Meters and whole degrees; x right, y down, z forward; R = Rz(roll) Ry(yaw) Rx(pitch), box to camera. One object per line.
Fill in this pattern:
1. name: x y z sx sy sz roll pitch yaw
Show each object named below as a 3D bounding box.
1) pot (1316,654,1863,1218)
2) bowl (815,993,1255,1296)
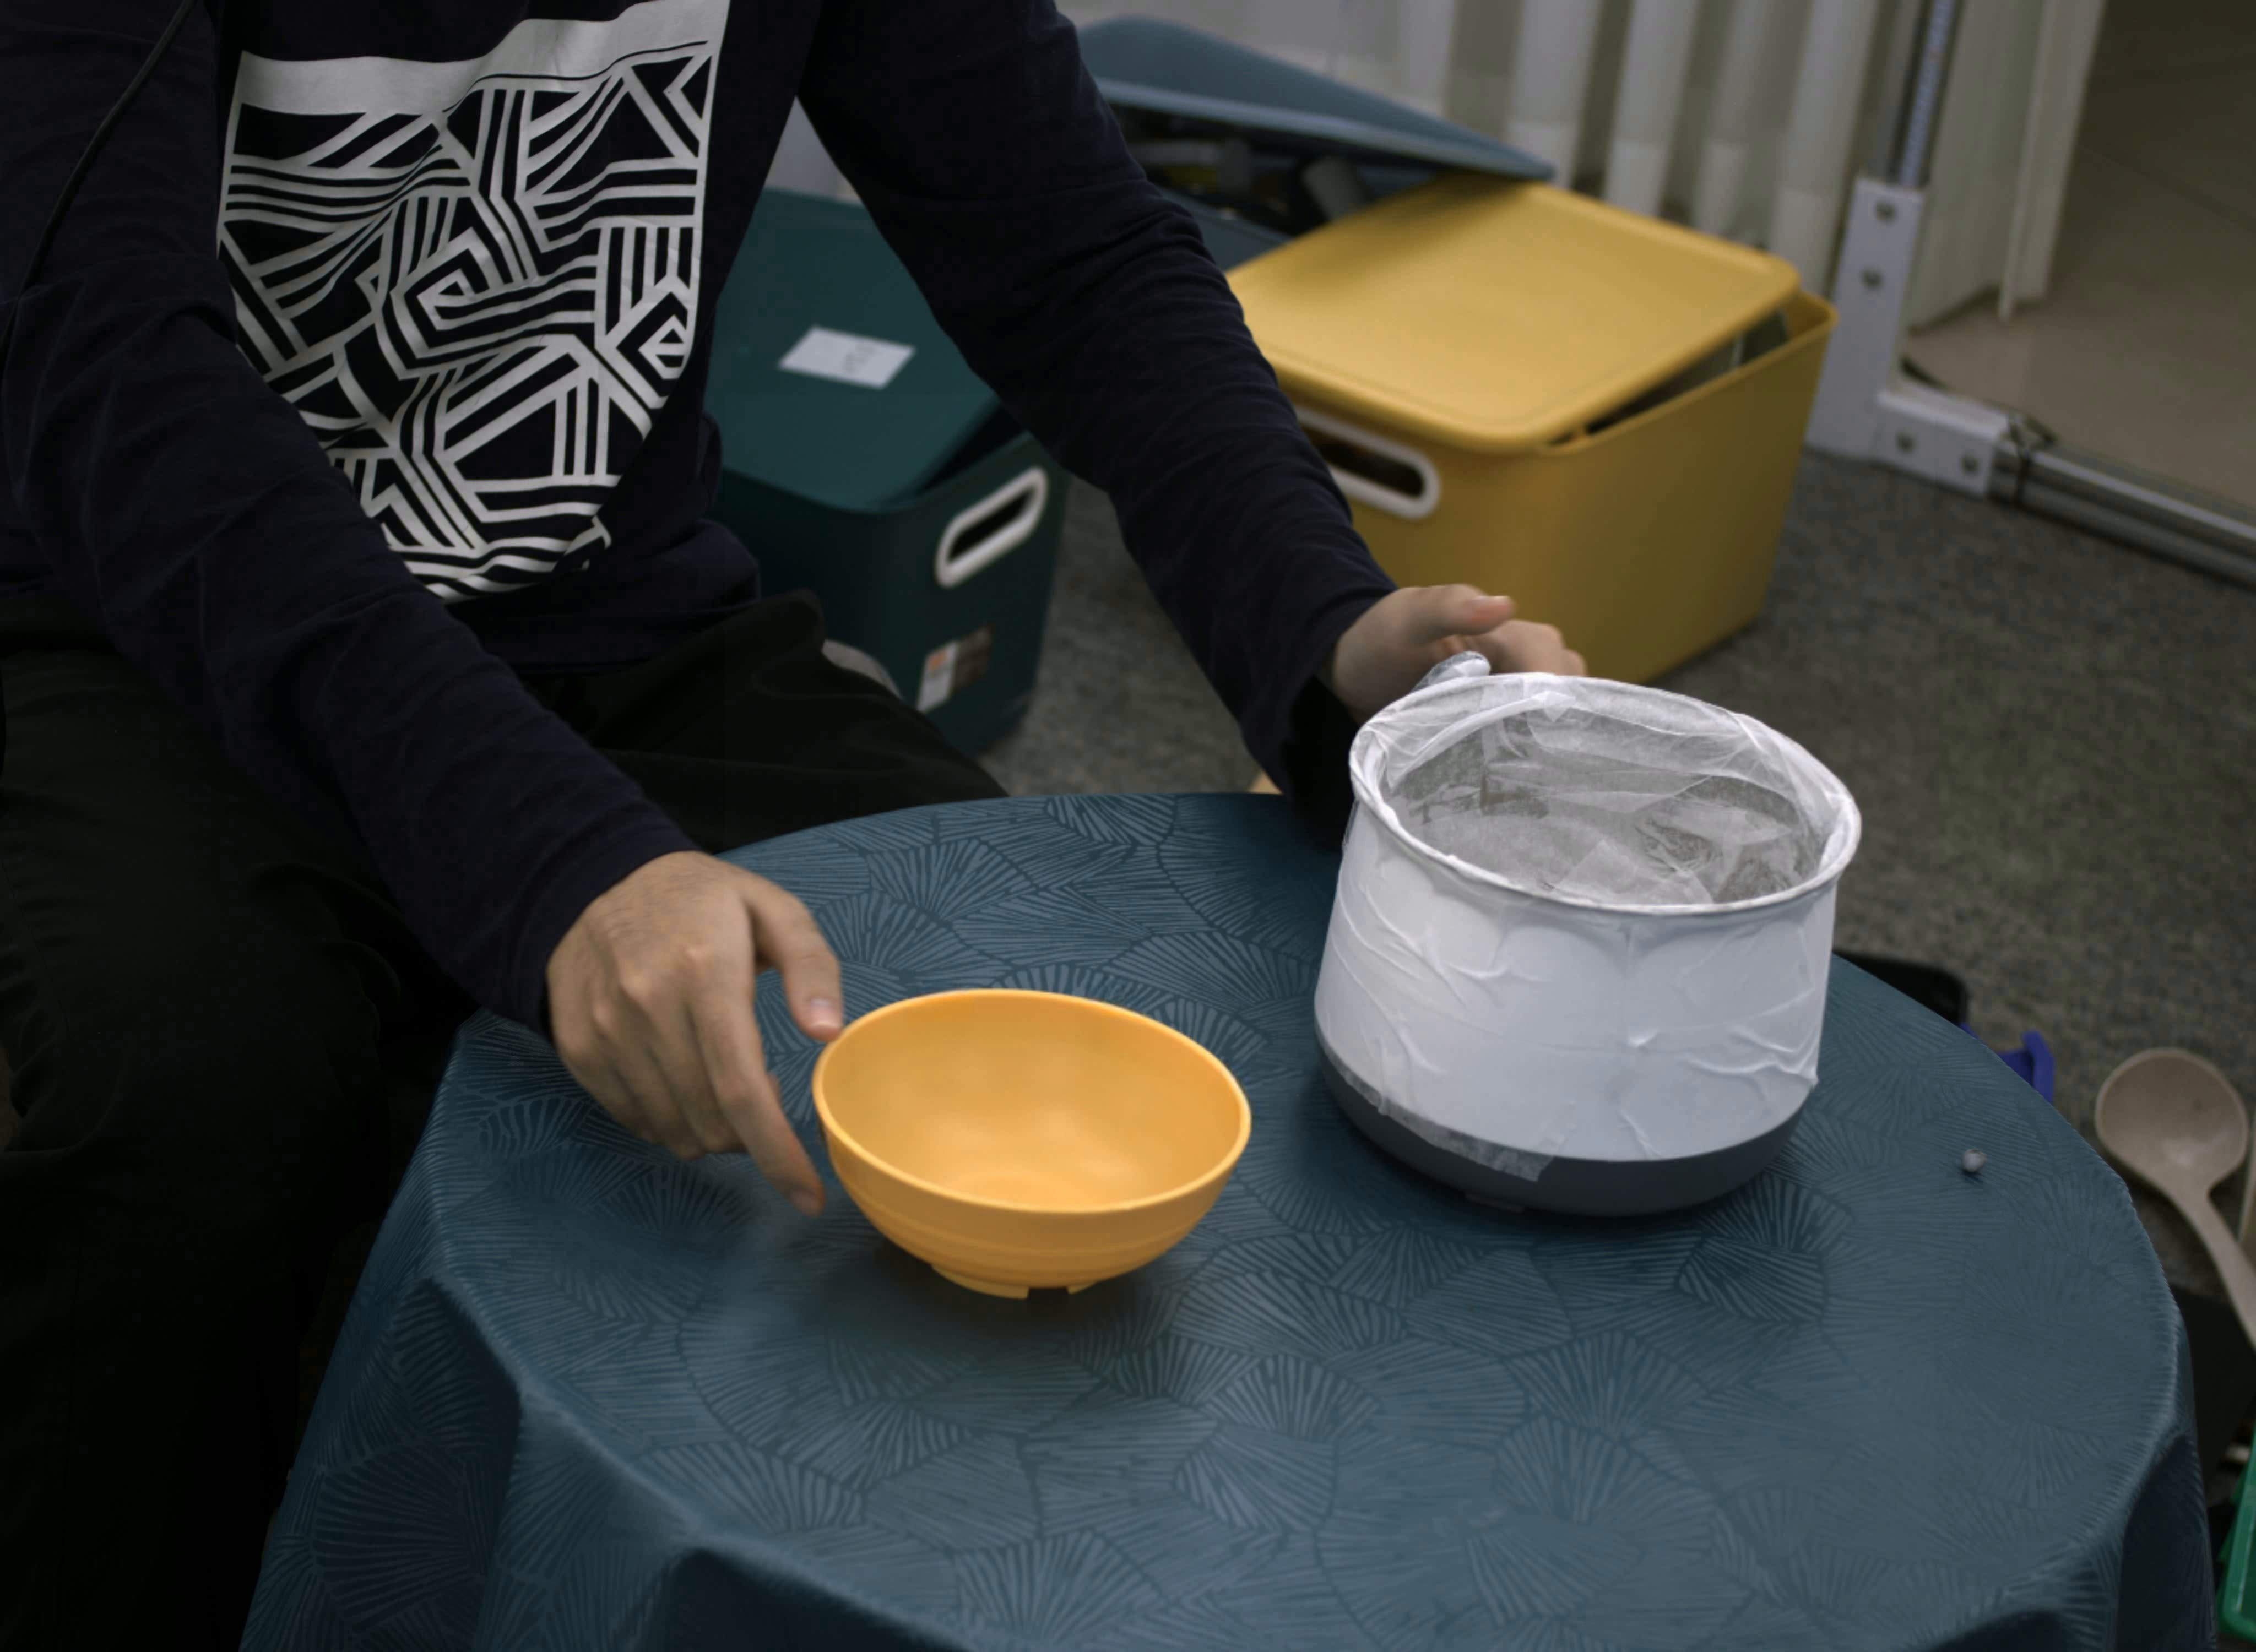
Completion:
1. pot: 0.145 0.032 1.872 0.177 0.136 0.236 -6 28 -25
2. bowl: -0.032 0.113 1.751 0.145 0.060 0.146 3 26 -2
